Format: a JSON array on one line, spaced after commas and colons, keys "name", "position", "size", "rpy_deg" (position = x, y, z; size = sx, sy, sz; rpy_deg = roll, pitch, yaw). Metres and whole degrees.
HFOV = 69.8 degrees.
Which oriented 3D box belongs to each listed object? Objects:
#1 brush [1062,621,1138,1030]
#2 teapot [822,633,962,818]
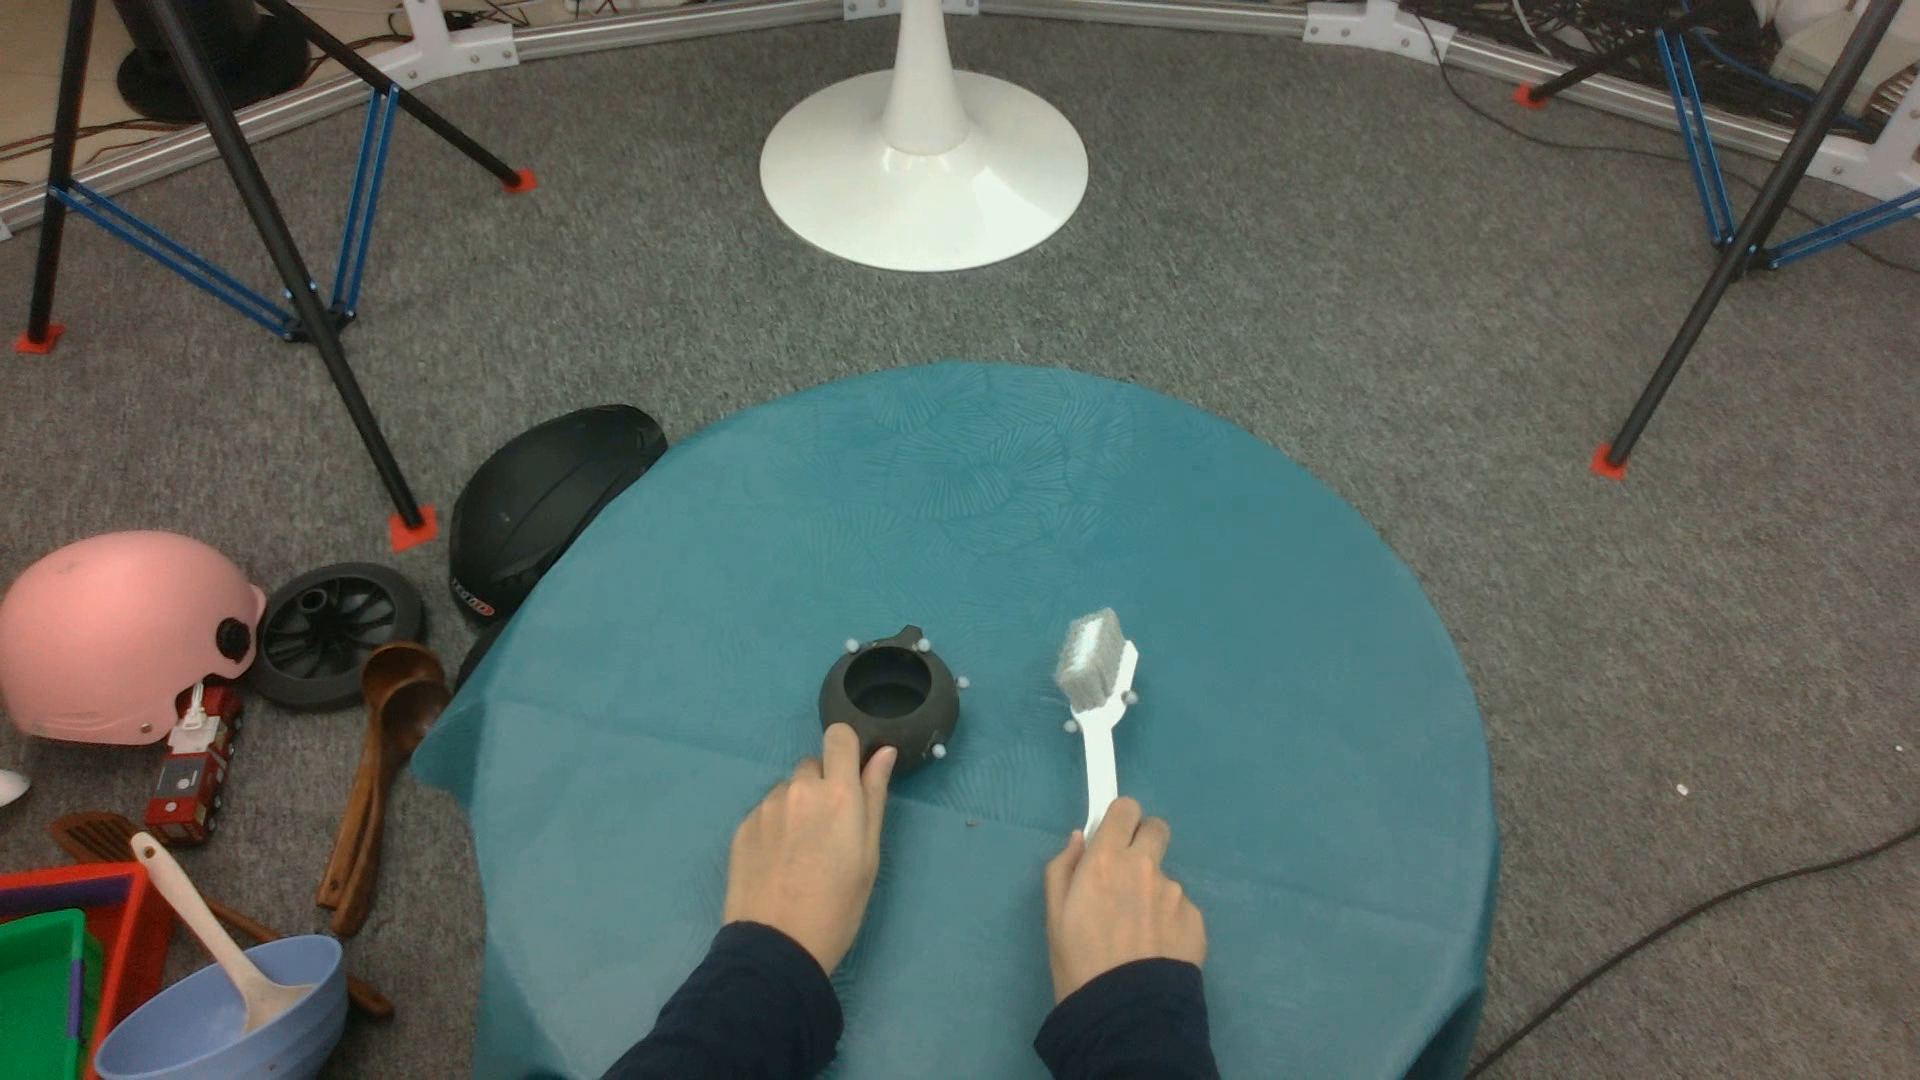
[{"name": "brush", "position": [0.072, 0.147, 0.771], "size": [0.034, 0.050, 0.245], "rpy_deg": [-10, 45, 23]}, {"name": "teapot", "position": [-0.045, 0.111, 0.808], "size": [0.083, 0.053, 0.114], "rpy_deg": [17, 52, 11]}]
